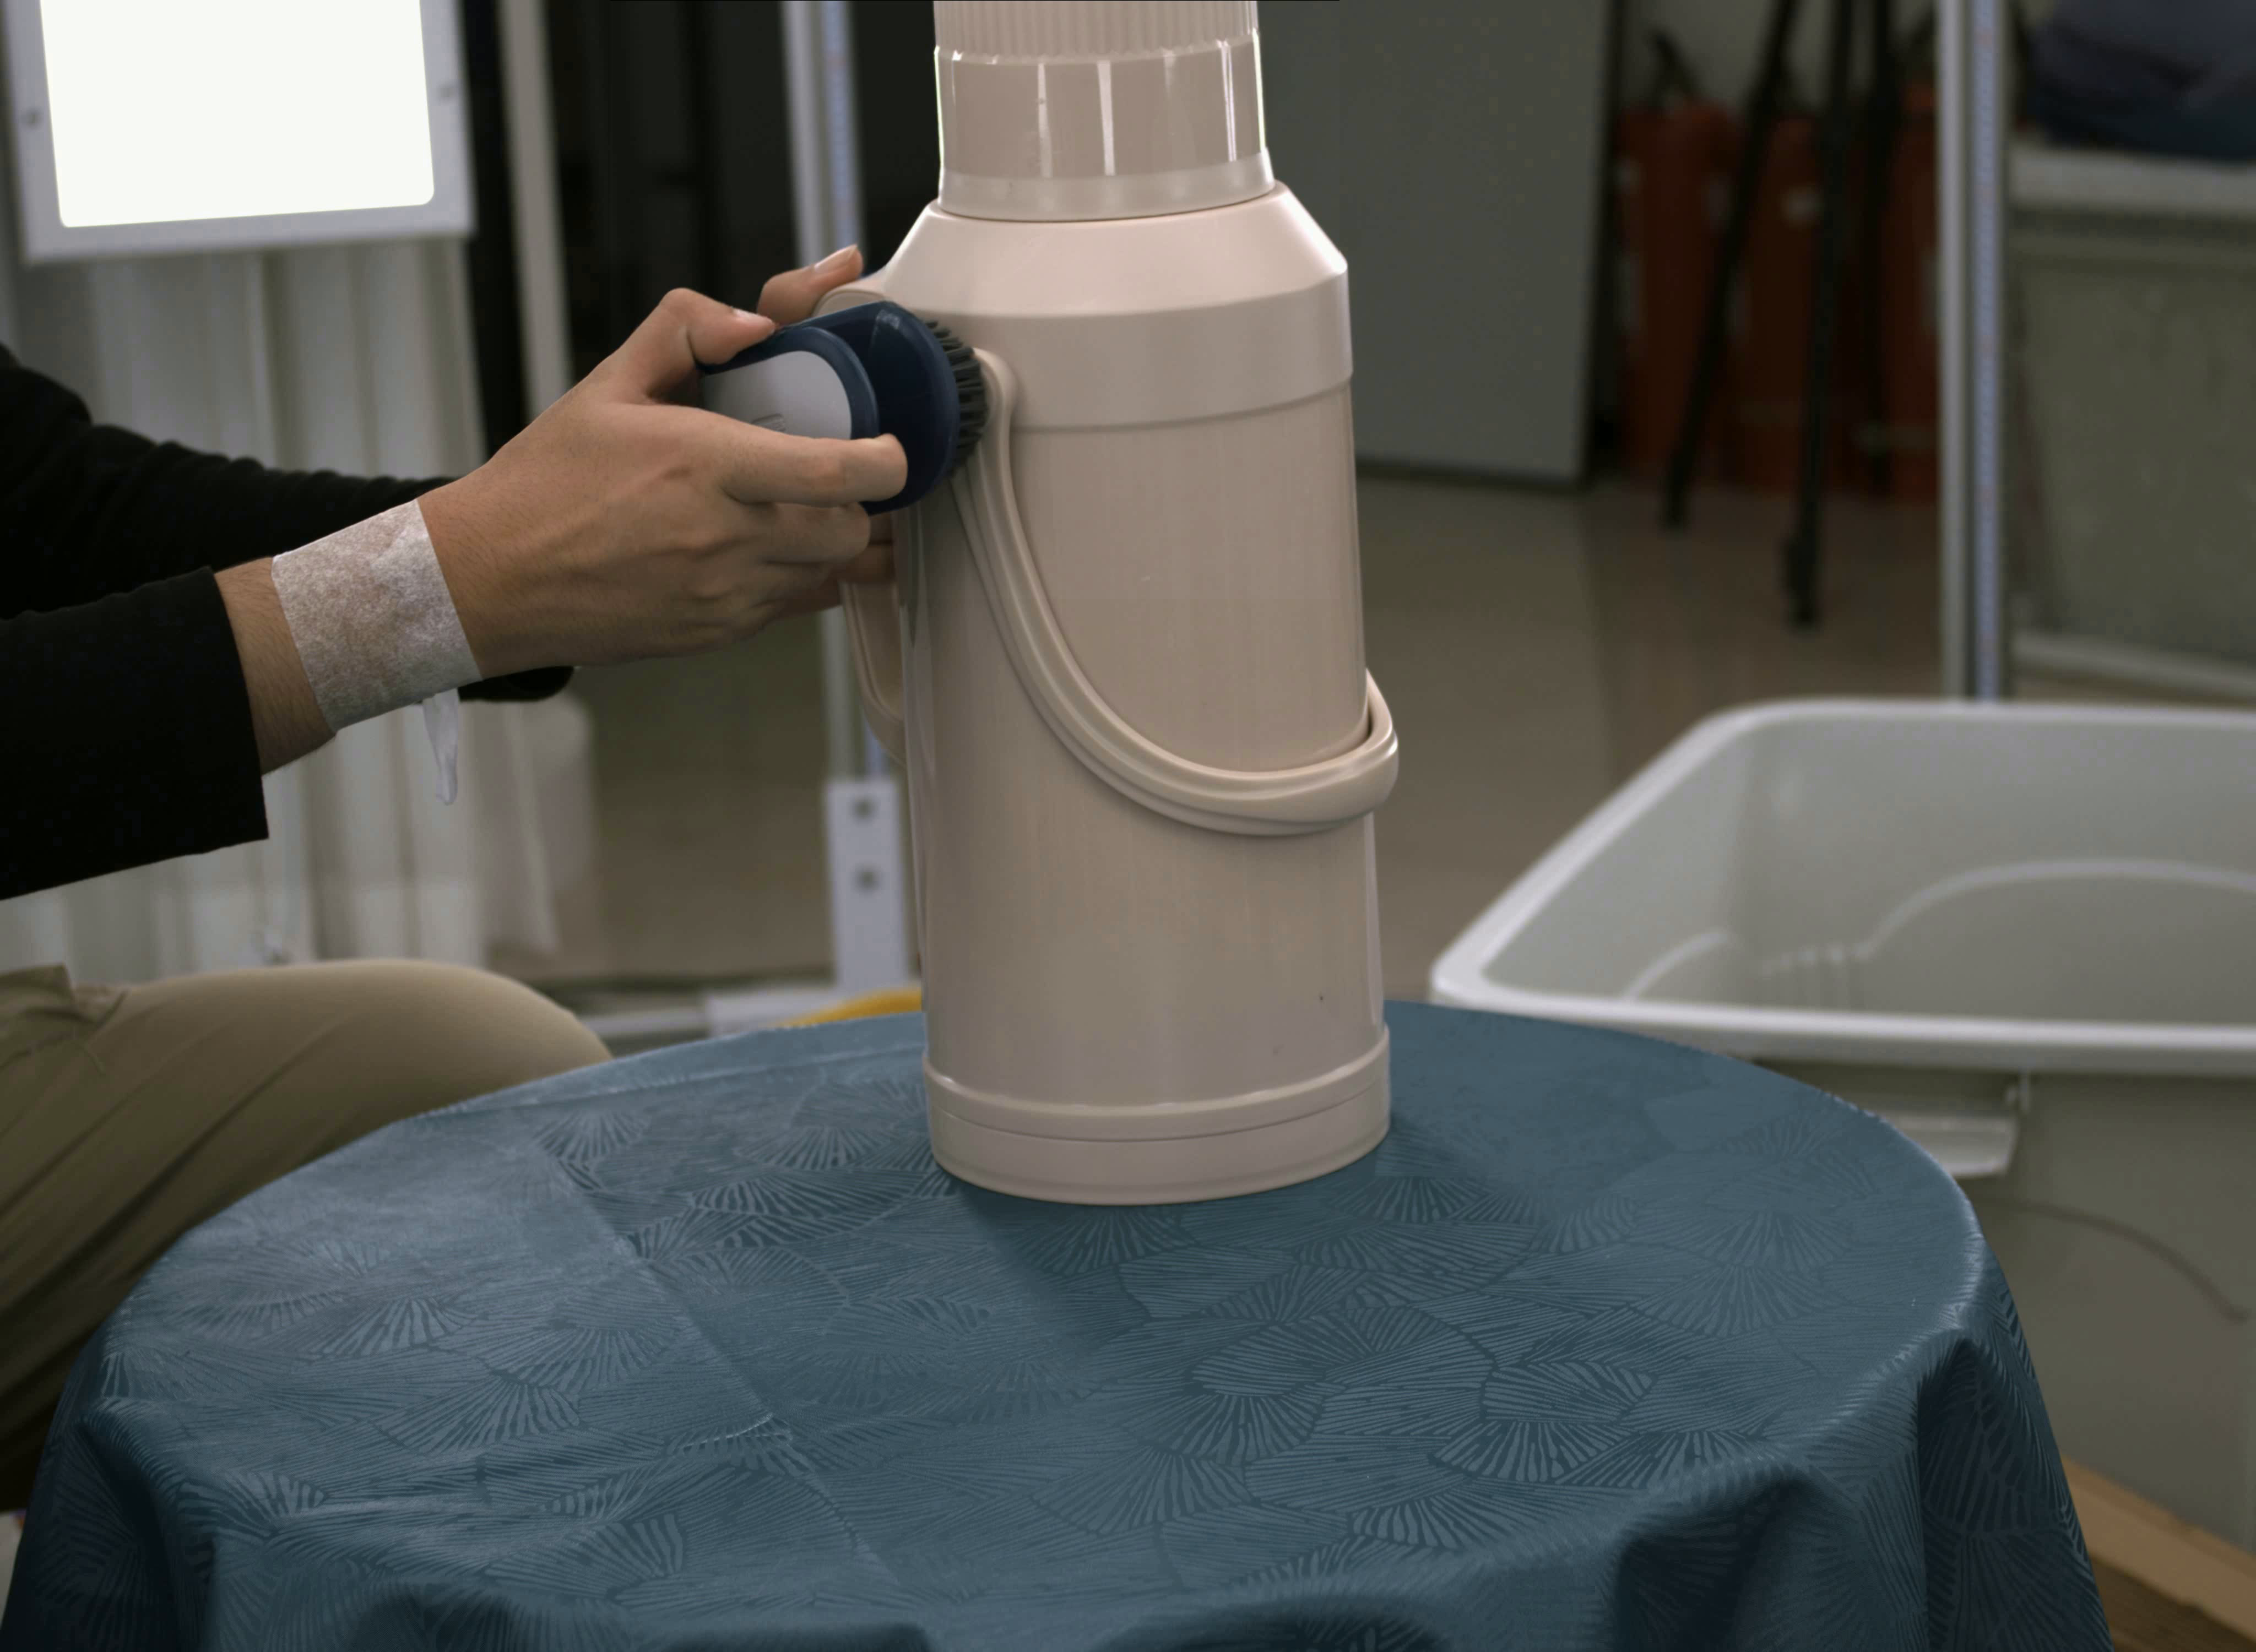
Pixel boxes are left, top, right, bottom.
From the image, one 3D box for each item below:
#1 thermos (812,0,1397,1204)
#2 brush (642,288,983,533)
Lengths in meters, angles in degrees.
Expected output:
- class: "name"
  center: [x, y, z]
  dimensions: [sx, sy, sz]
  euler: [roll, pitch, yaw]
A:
- class: "thermos"
  center: [-0.011, -0.090, 1.796]
  dimensions: [0.208, 0.410, 0.172]
  euler: [5, 17, 33]
- class: "brush"
  center: [-0.098, -0.131, 1.715]
  dimensions: [0.060, 0.069, 0.123]
  euler: [-13, 3, -42]
